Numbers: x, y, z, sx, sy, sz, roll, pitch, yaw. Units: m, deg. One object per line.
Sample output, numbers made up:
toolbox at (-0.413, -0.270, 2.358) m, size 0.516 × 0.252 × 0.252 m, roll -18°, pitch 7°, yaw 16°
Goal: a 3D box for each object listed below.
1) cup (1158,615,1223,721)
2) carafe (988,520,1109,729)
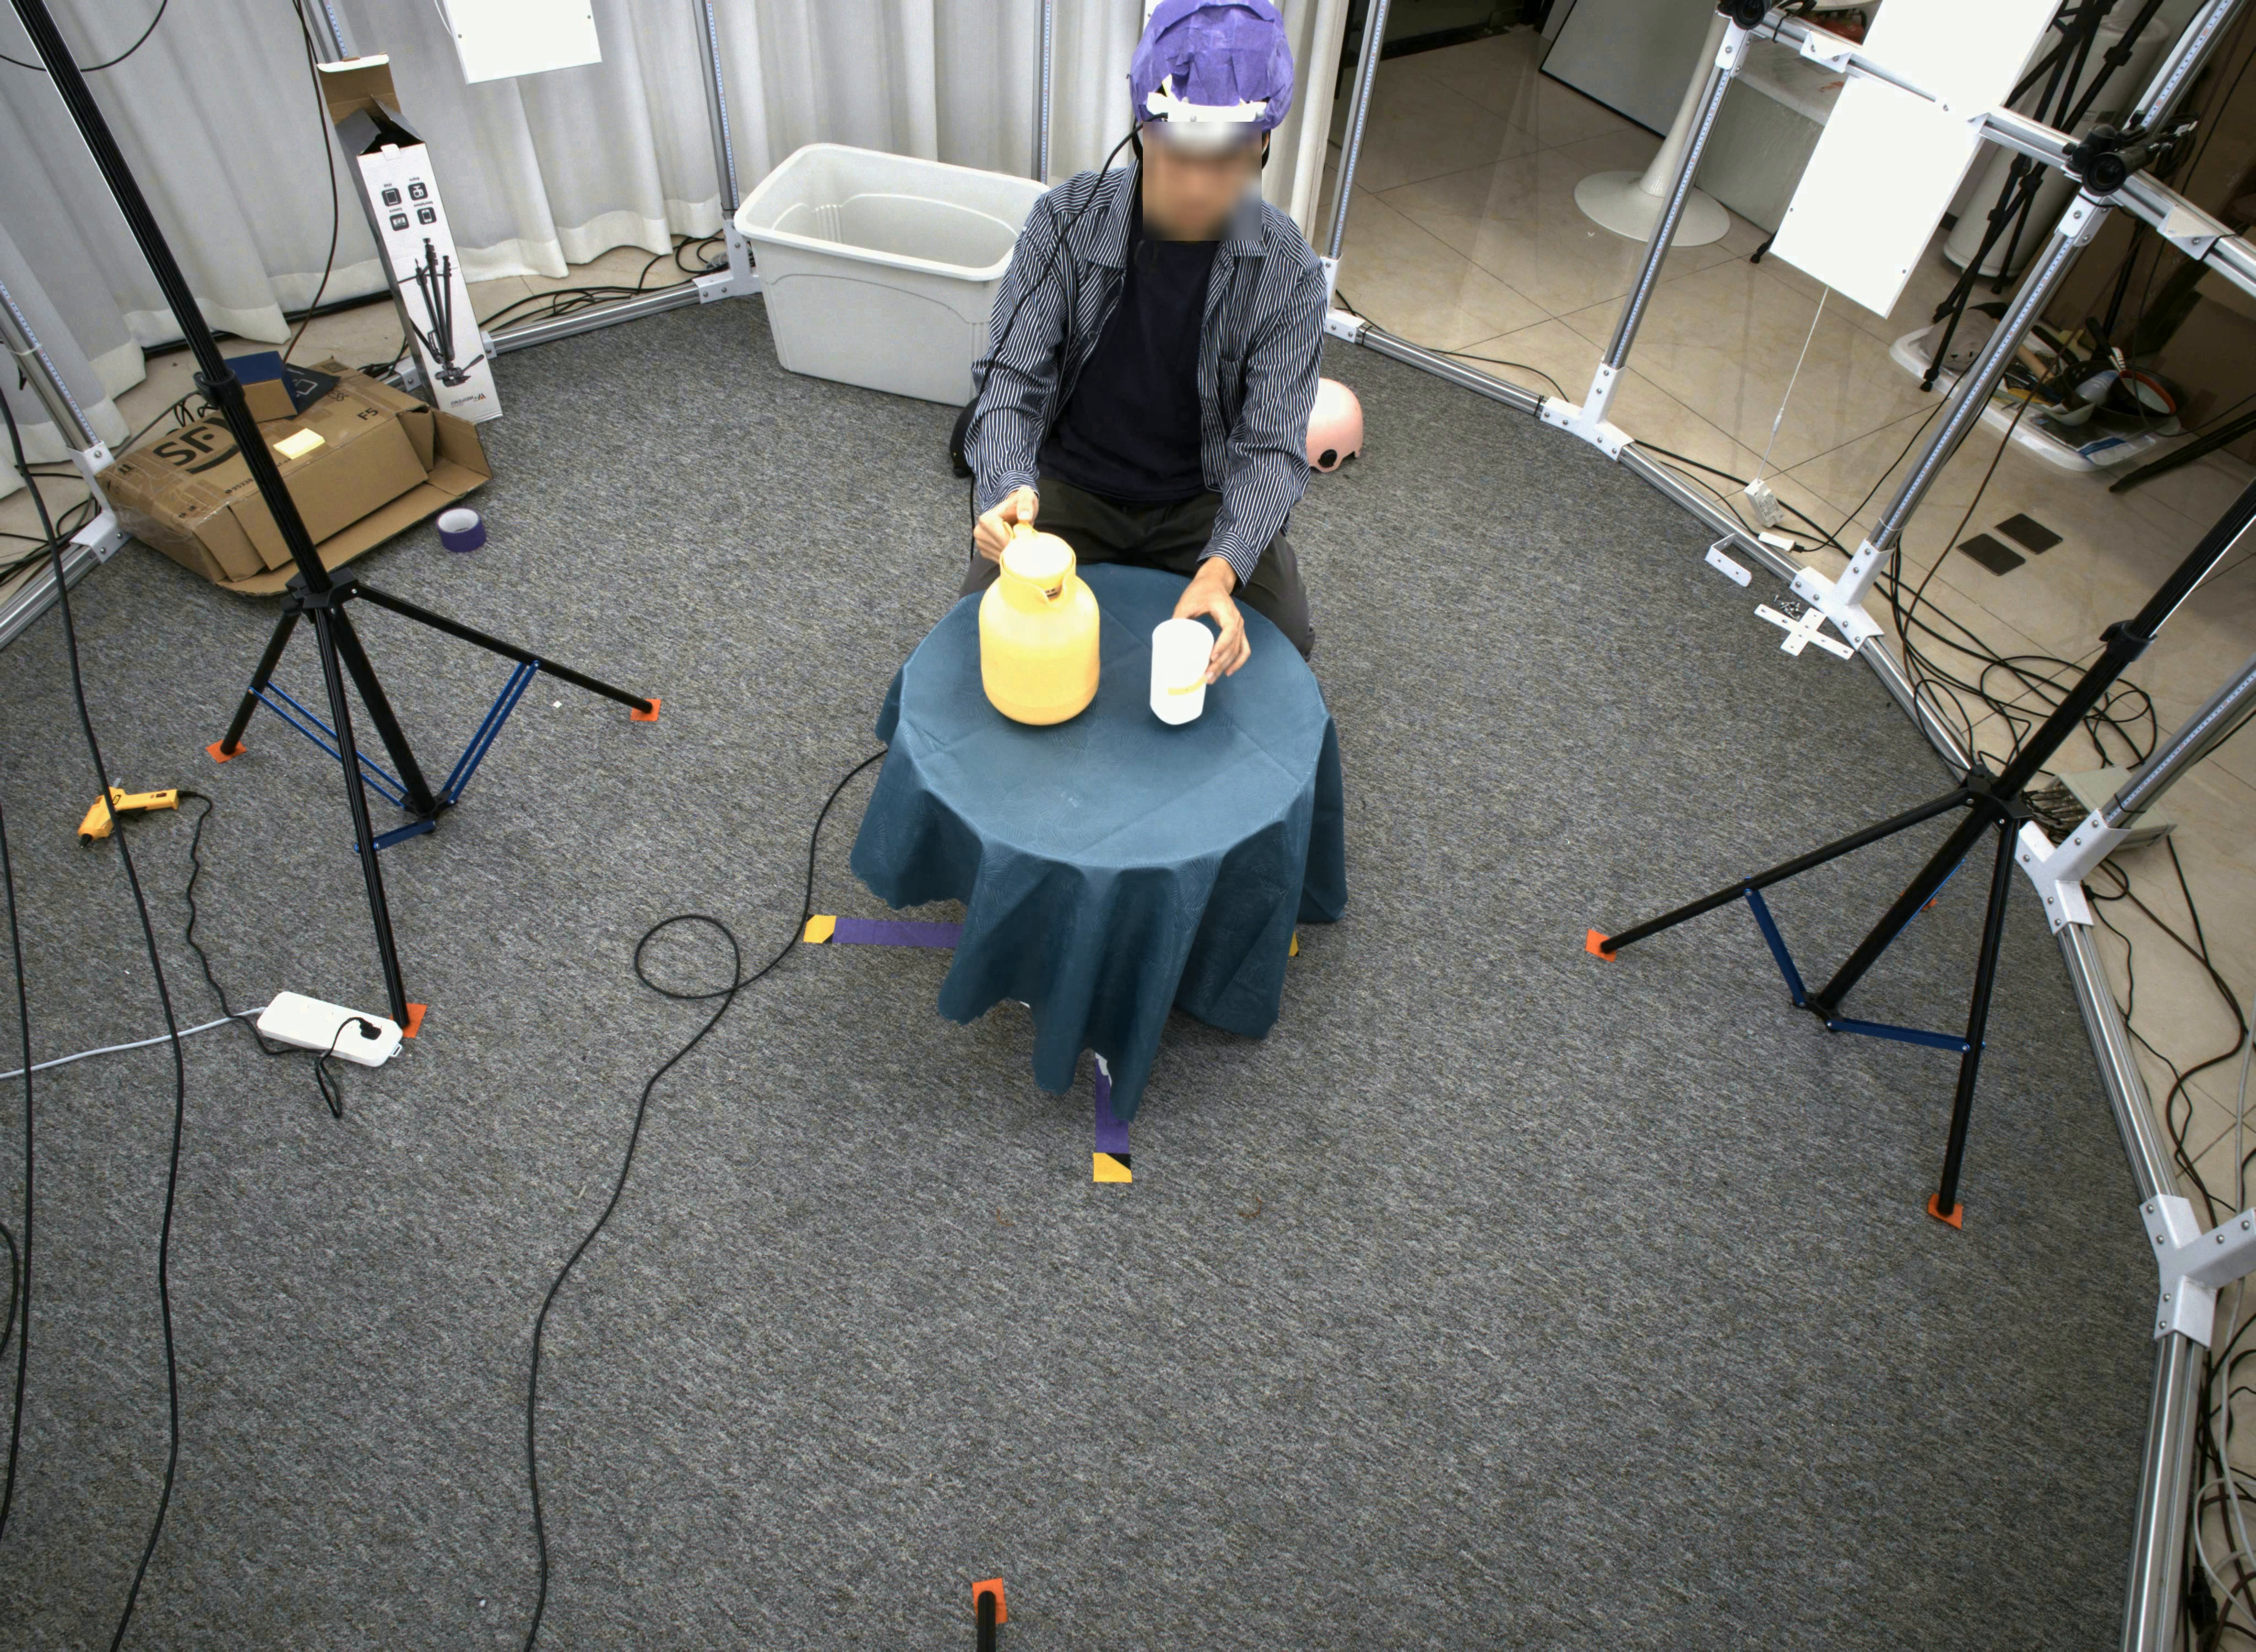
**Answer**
cup at (0.082, -0.212, 1.744) m, size 0.081 × 0.122 × 0.084 m, roll 2°, pitch 46°, yaw -3°
carafe at (-0.112, -0.277, 1.720) m, size 0.163 × 0.254 × 0.207 m, roll -18°, pitch 53°, yaw -18°
